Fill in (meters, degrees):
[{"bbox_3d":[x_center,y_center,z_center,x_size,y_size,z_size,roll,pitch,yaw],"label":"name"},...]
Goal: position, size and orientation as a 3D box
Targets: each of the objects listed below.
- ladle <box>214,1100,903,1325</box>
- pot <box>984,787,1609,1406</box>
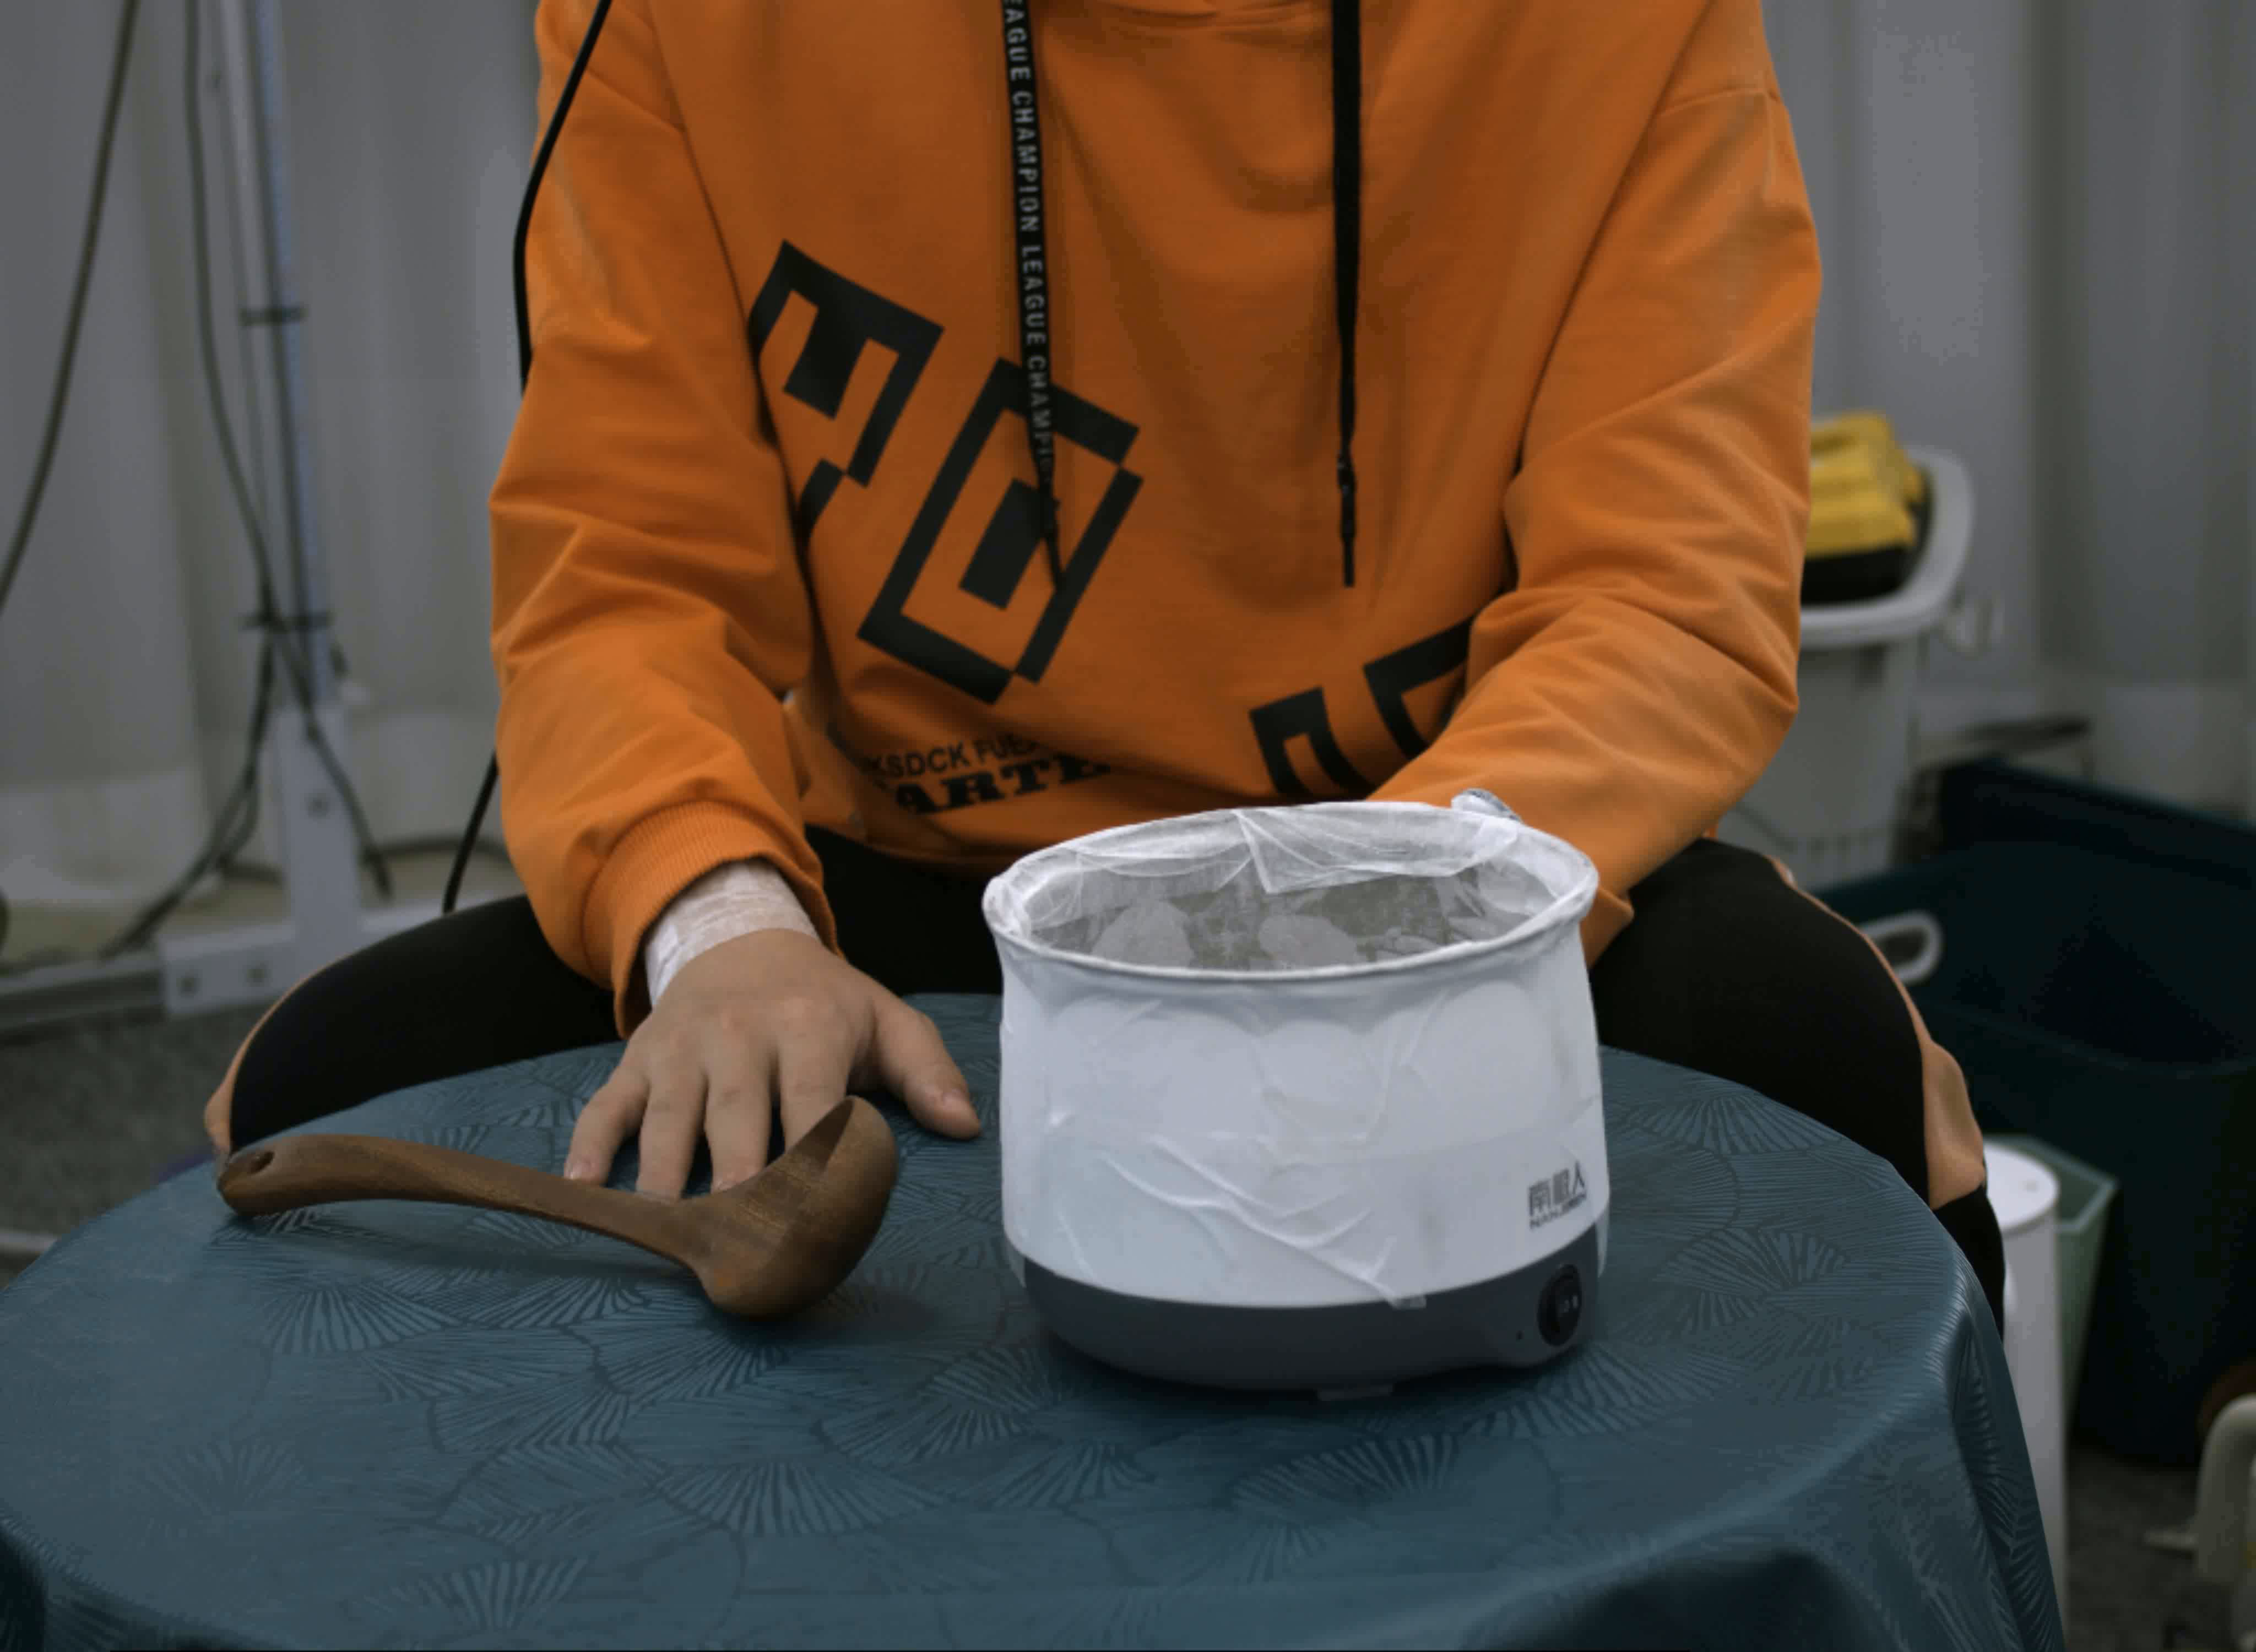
[{"bbox_3d":[-0.181,0.107,1.666,0.261,0.064,0.077,6,43,29],"label":"ladle"},{"bbox_3d":[0.065,0.071,1.601,0.179,0.136,0.234,8,18,34],"label":"pot"}]
